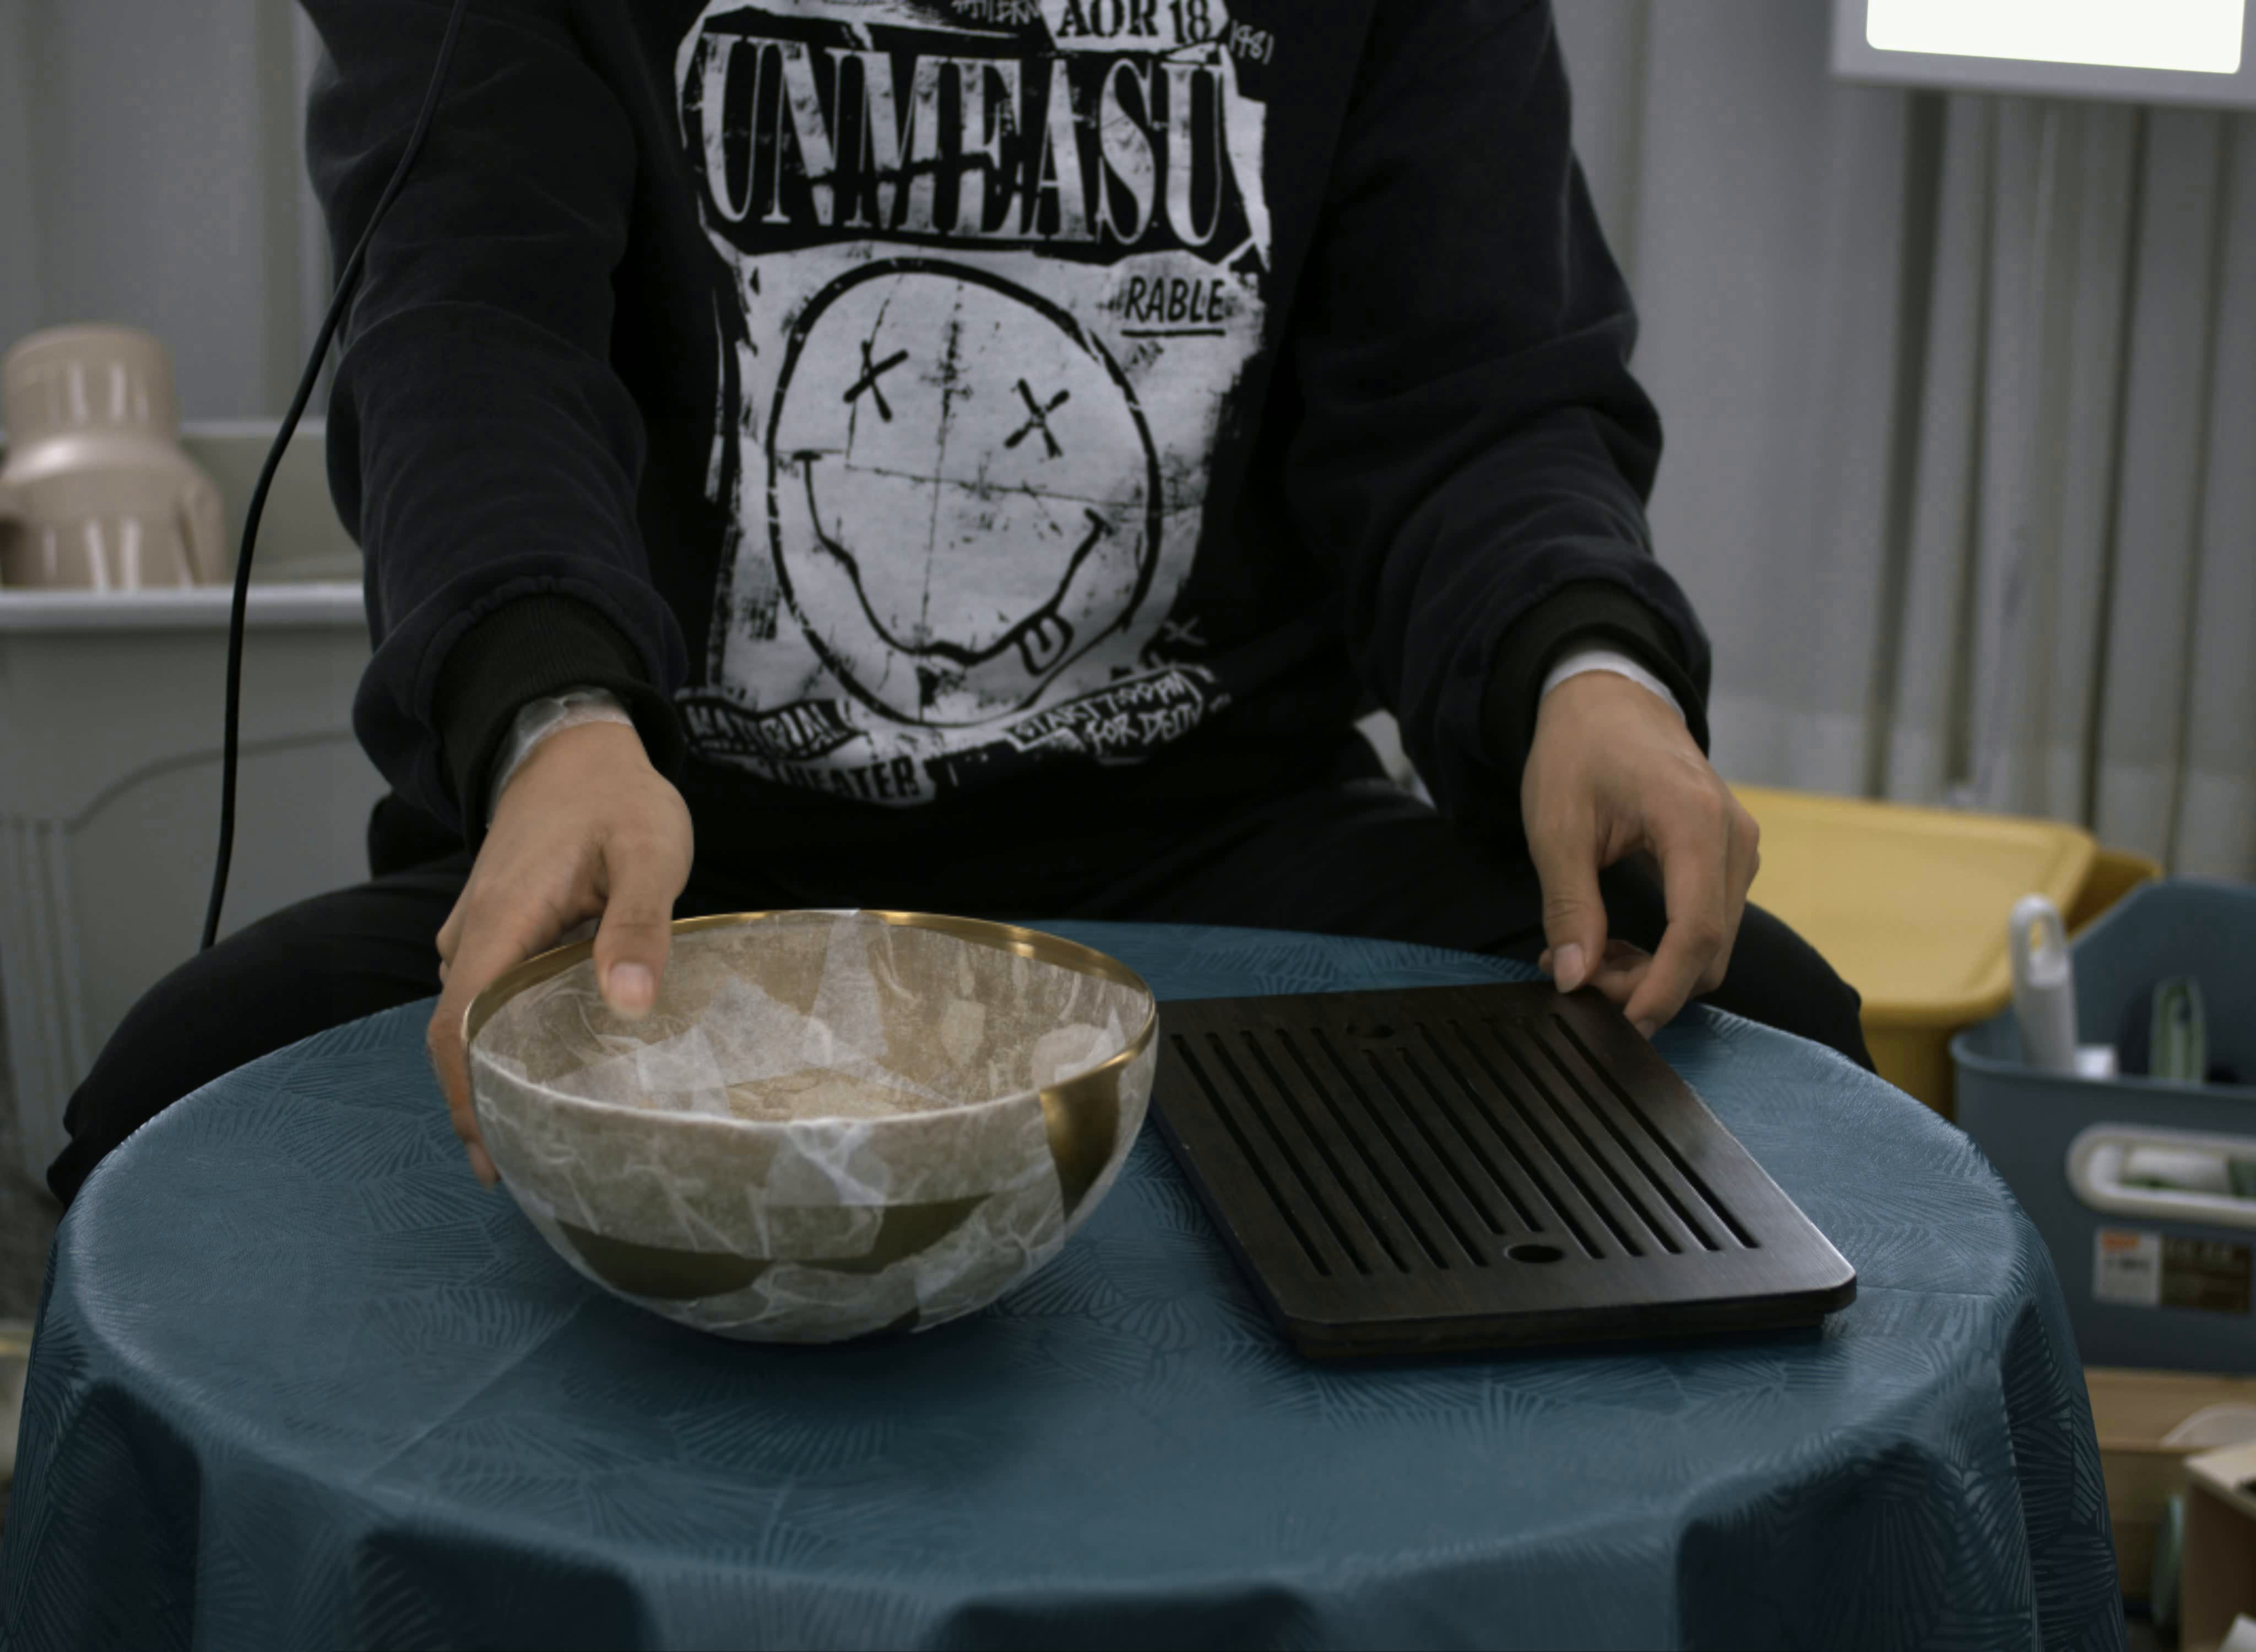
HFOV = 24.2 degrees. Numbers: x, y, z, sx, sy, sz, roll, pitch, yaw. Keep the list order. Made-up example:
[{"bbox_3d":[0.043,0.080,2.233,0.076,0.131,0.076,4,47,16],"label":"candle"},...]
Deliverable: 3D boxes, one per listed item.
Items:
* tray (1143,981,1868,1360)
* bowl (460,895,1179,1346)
[{"bbox_3d":[0.104,0.103,1.631,0.170,0.019,0.303,-2,16,-11],"label":"tray"},{"bbox_3d":[-0.087,0.093,1.519,0.214,0.095,0.213,0,17,1],"label":"bowl"}]
